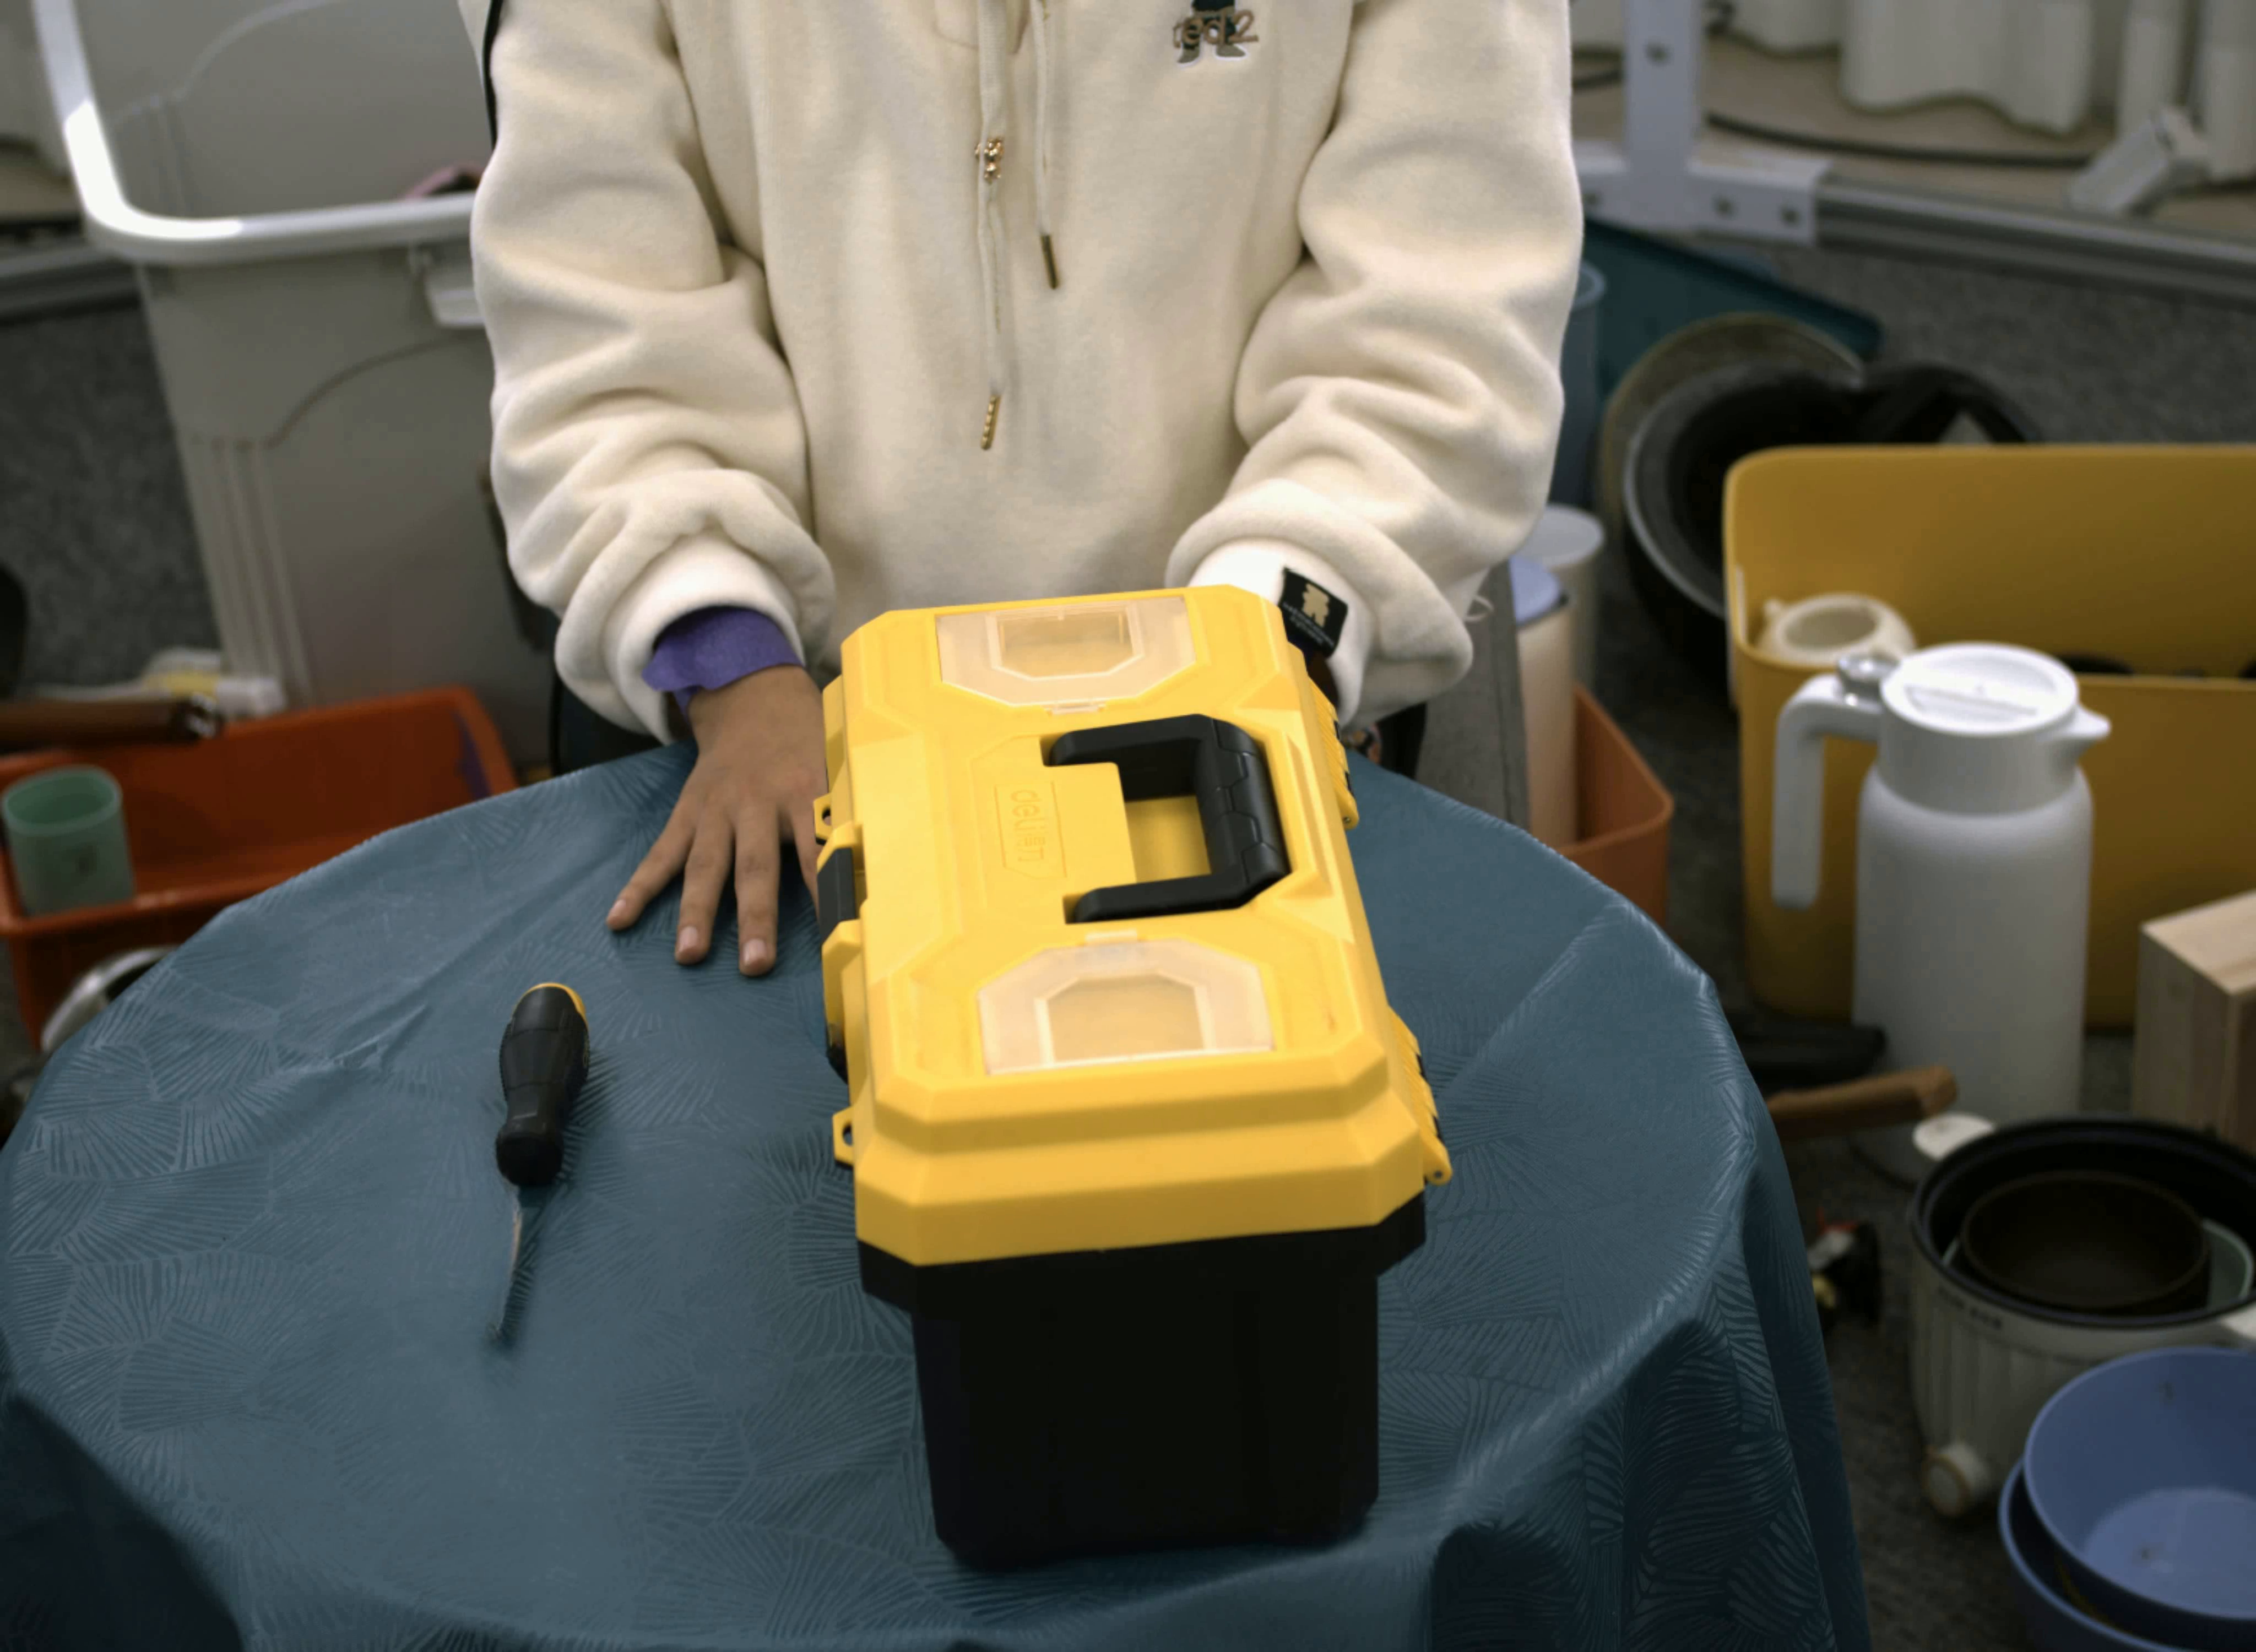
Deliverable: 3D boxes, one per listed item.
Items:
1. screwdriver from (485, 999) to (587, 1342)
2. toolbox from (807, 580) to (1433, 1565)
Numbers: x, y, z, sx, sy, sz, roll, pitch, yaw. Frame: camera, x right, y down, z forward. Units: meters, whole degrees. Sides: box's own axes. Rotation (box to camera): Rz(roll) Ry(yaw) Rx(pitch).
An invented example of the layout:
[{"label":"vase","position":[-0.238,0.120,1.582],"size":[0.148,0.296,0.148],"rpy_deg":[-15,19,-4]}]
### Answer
[{"label":"screwdriver","position":[-0.202,0.119,1.876],"size":[0.031,0.031,0.201],"rpy_deg":[-2,32,2]},{"label":"toolbox","position":[-0.006,0.070,1.774],"size":[0.180,0.171,0.356],"rpy_deg":[-4,27,-2]}]
